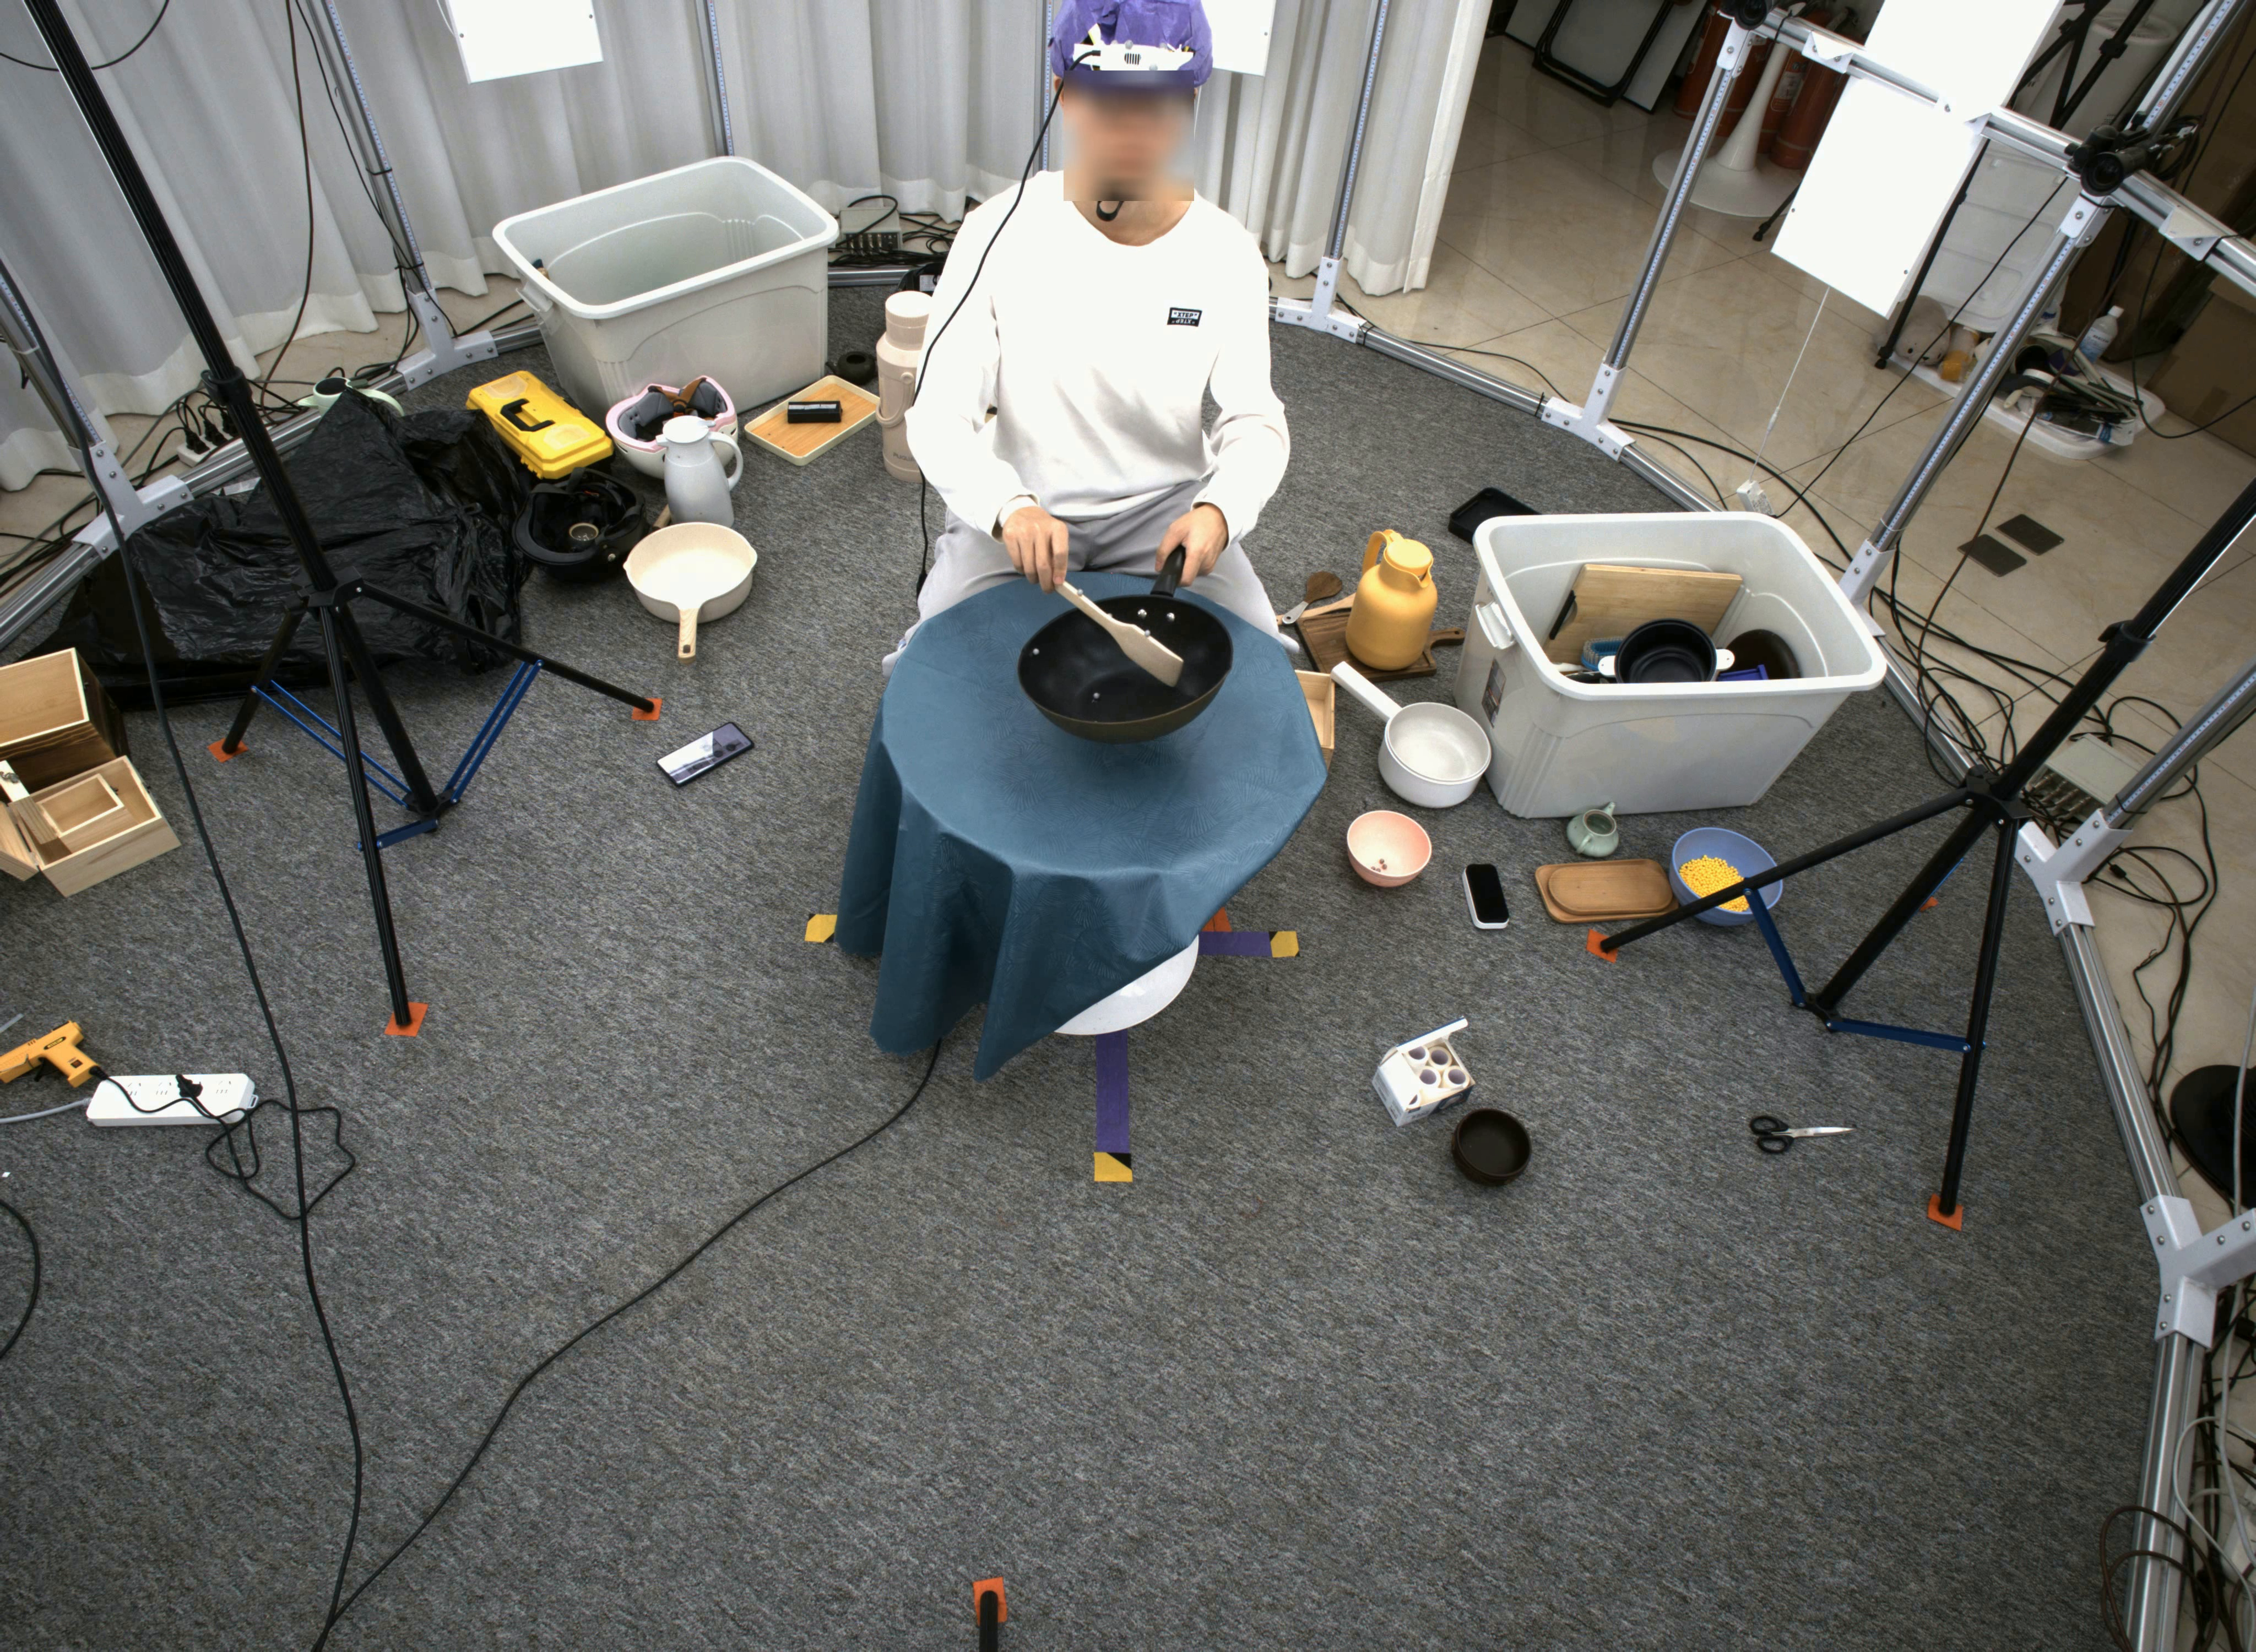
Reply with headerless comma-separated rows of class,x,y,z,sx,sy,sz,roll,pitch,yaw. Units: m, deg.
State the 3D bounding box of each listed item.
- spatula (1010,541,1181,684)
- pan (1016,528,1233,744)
spatula,-0.048,-0.292,1.726,0.295,0.071,0.011,39,68,11
pan,0.029,-0.255,1.748,0.289,0.085,0.473,8,44,19
